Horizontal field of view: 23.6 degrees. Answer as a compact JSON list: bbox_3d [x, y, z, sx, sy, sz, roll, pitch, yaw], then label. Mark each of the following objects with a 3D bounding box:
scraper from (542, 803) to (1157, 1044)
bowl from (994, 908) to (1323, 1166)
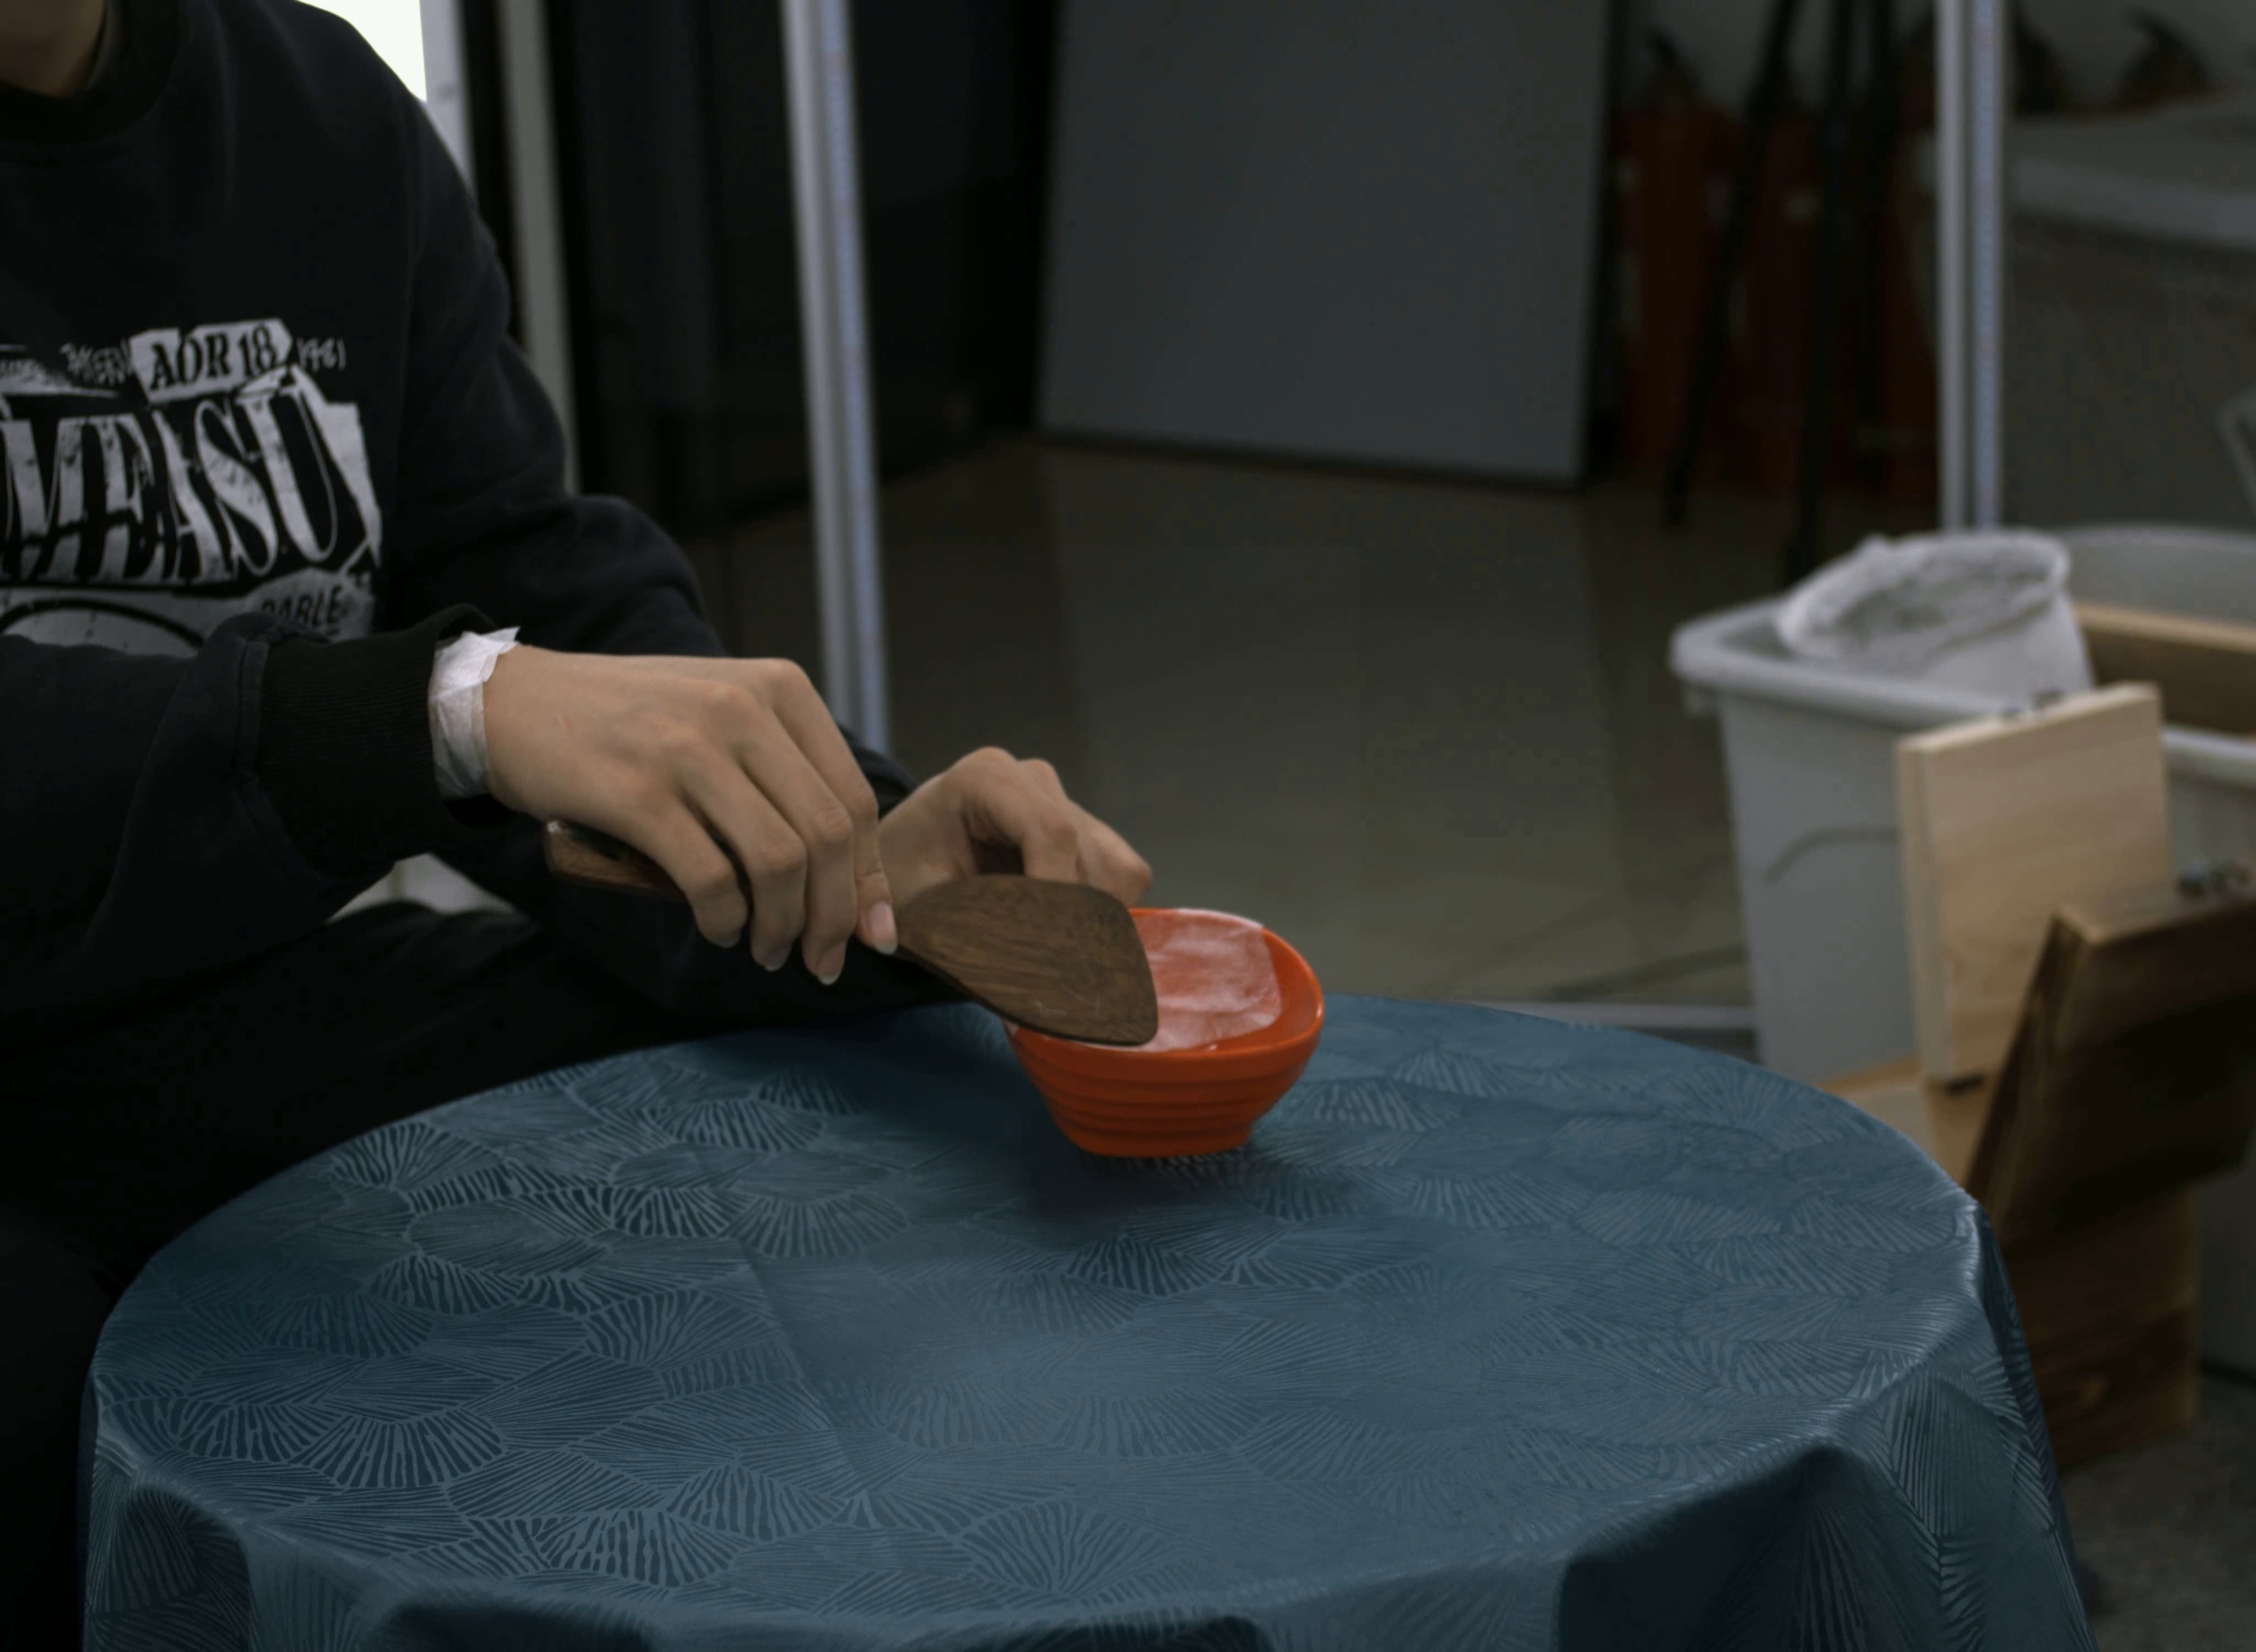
[{"bbox_3d":[-0.087,0.024,1.702,0.207,0.011,0.076,14,39,-24],"label":"scraper"},{"bbox_3d":[0.007,0.075,1.801,0.117,0.052,0.119,4,26,-3],"label":"bowl"}]
